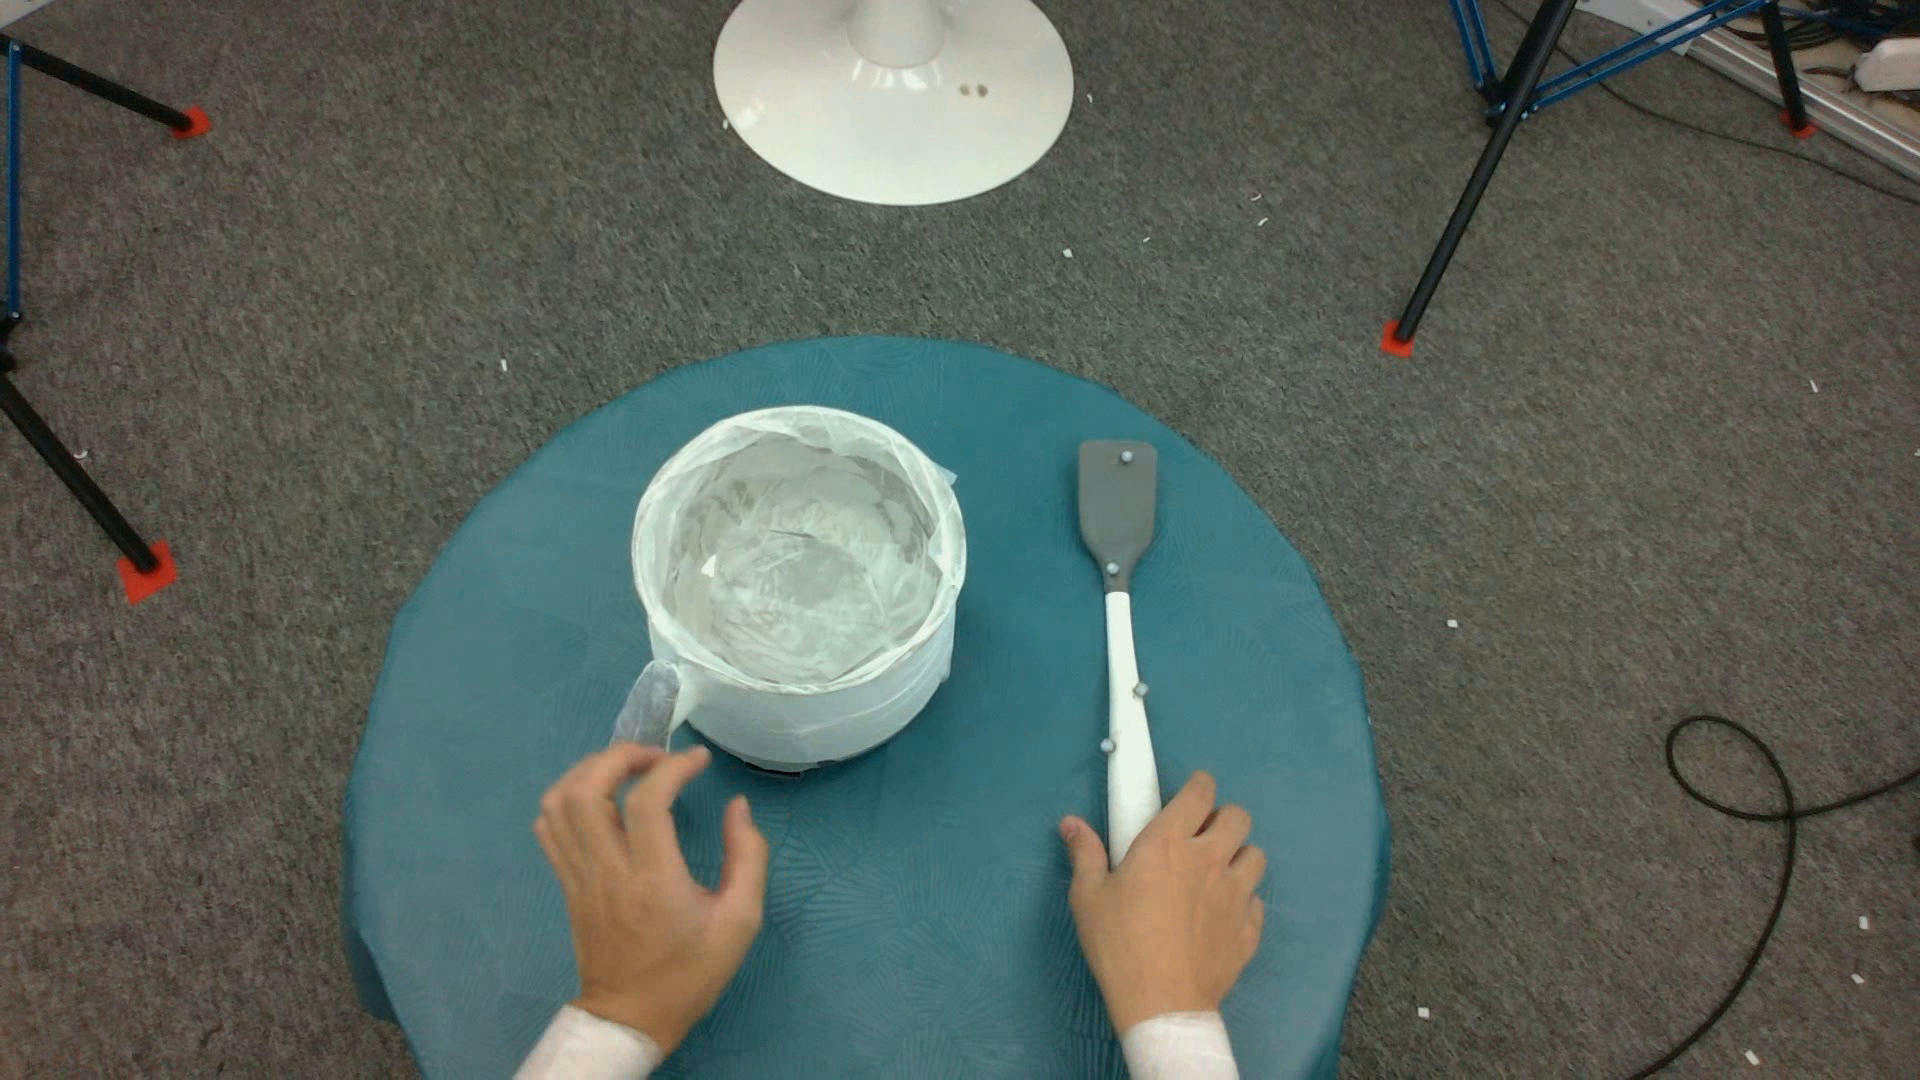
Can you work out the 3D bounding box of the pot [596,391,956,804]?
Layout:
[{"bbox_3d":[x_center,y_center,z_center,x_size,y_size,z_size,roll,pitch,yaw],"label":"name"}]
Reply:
[{"bbox_3d":[-0.112,0.042,0.770,0.179,0.136,0.234,35,63,14],"label":"pot"}]

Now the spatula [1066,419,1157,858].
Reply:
[{"bbox_3d":[0.096,0.050,0.847,0.058,0.032,0.289,1,61,0],"label":"spatula"}]
